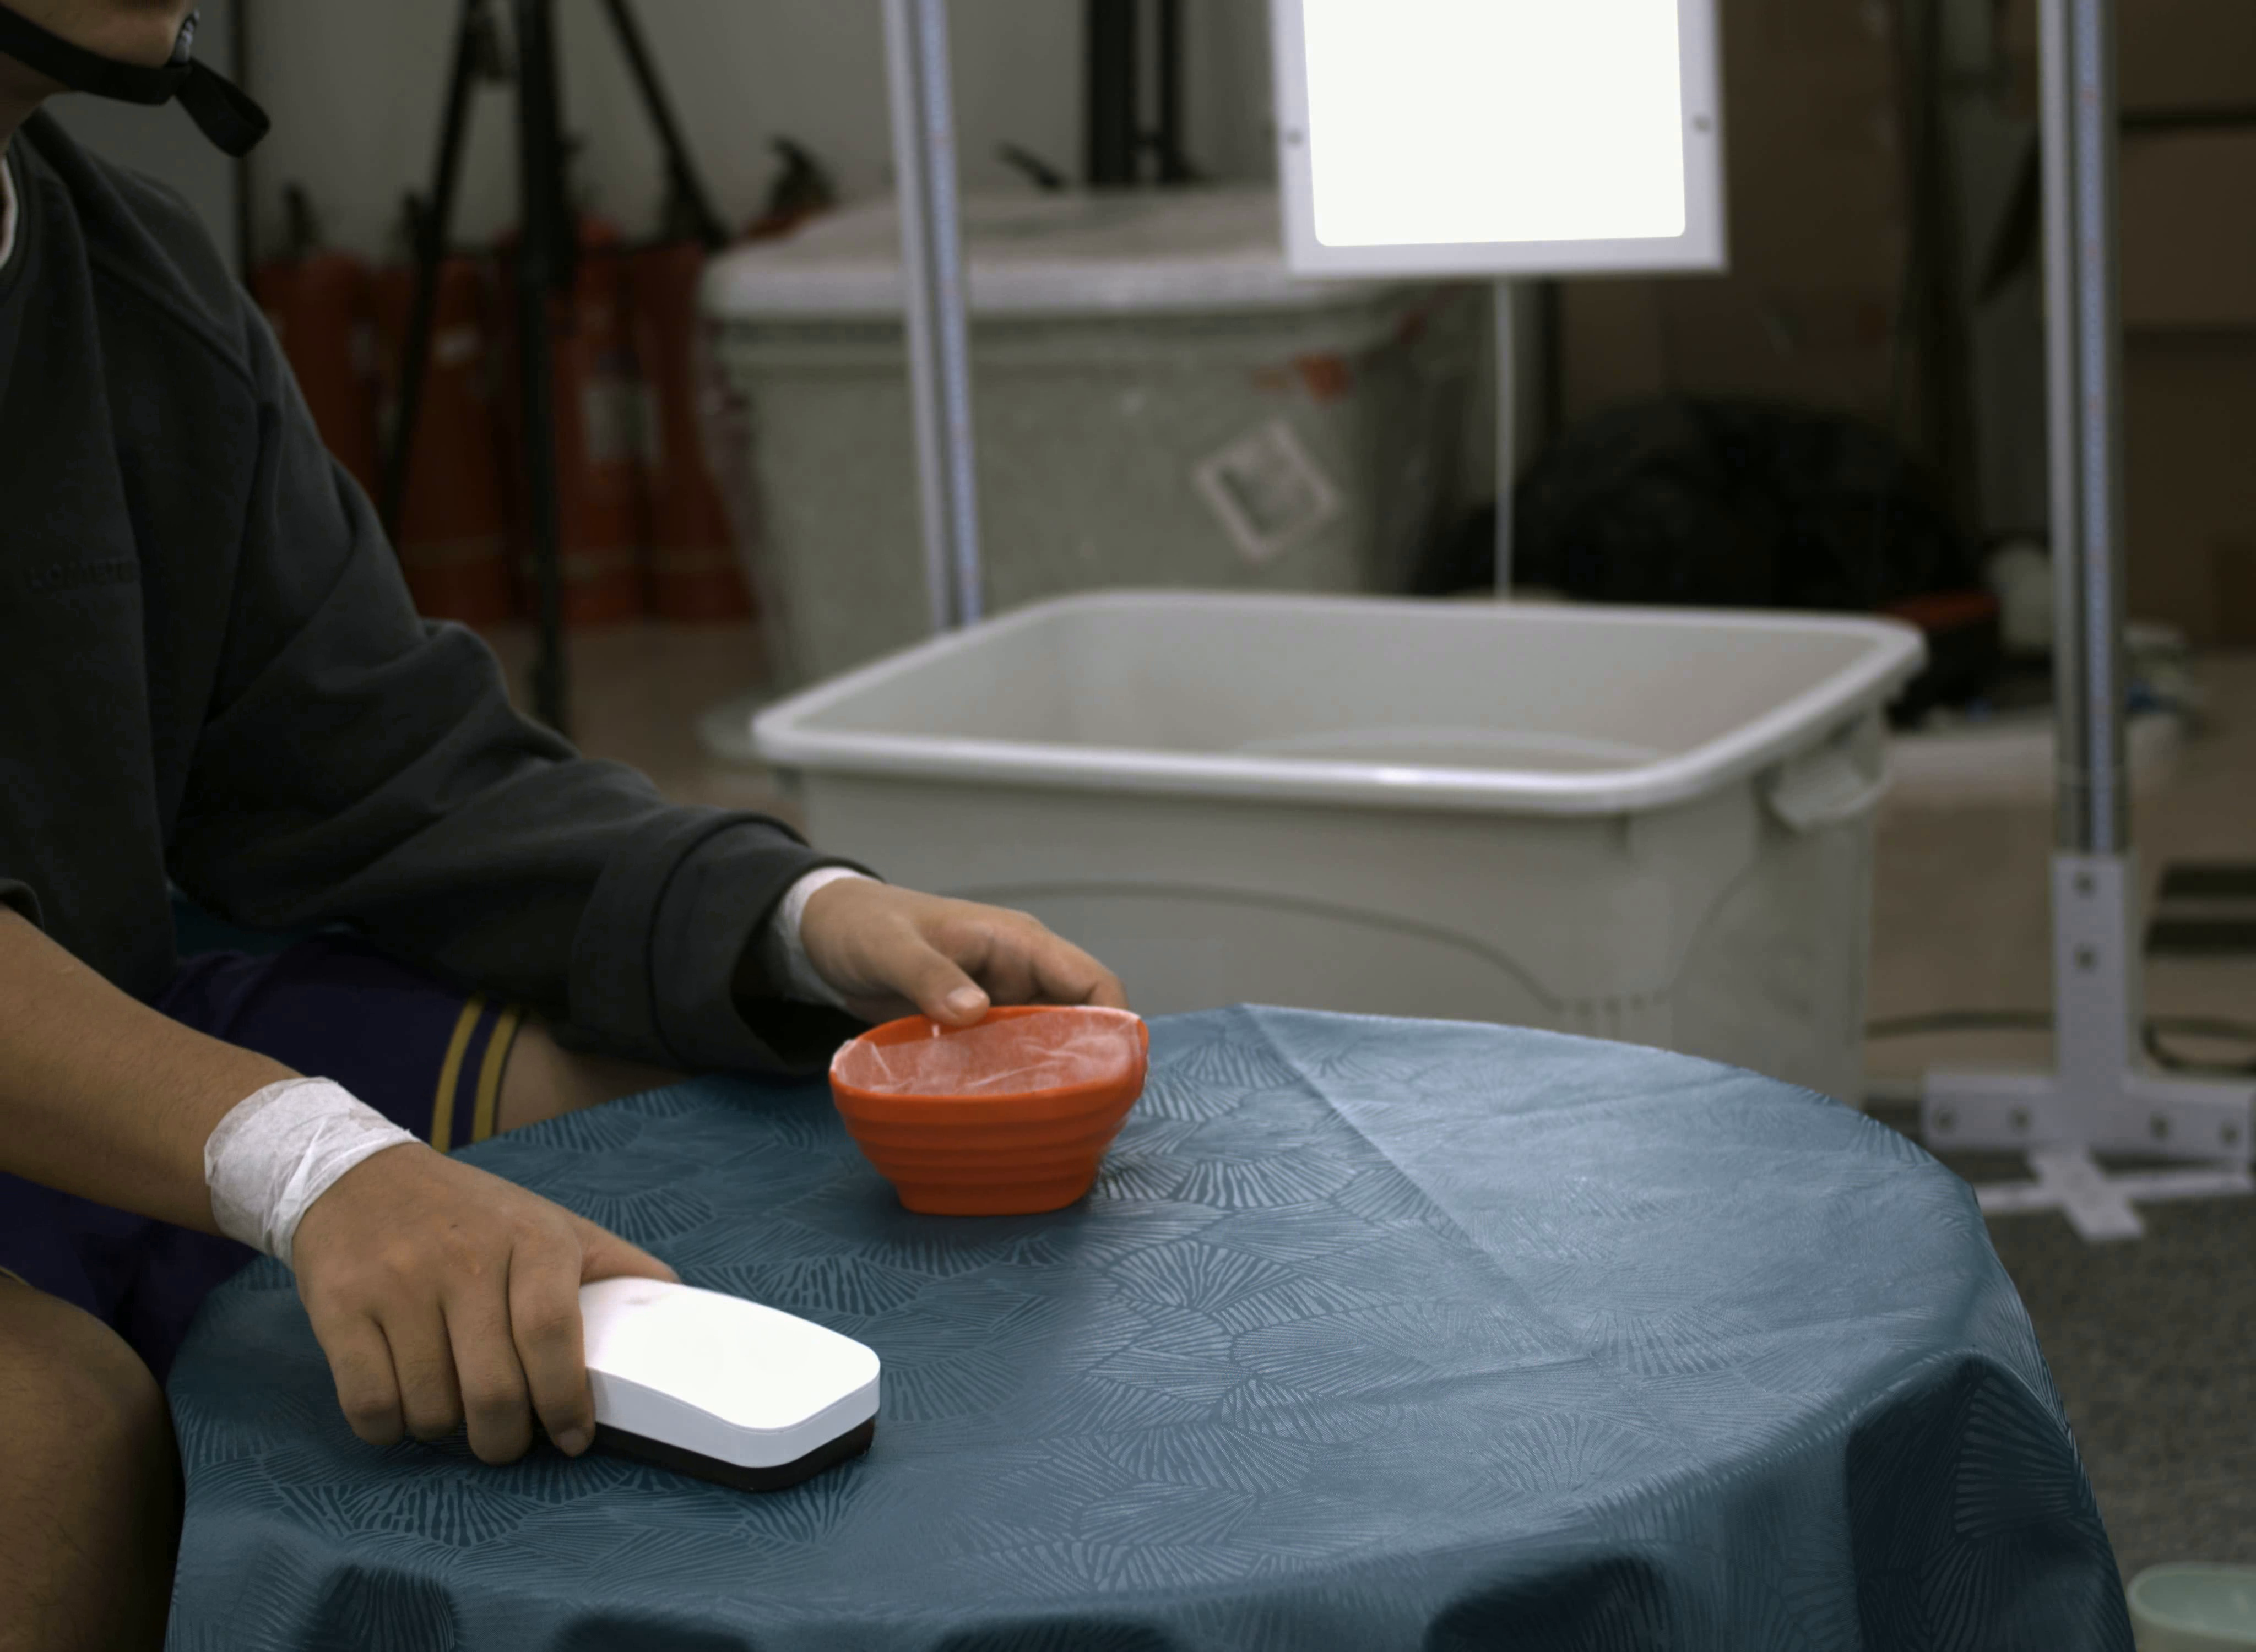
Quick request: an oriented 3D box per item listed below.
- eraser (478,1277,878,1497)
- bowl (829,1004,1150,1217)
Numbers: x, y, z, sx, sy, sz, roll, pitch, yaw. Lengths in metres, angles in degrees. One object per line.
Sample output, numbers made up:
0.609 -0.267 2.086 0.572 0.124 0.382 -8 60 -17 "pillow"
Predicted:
-0.137 0.168 1.692 0.134 0.035 0.062 13 24 41 "eraser"
-0.046 0.101 1.911 0.118 0.051 0.119 -5 15 0 "bowl"
